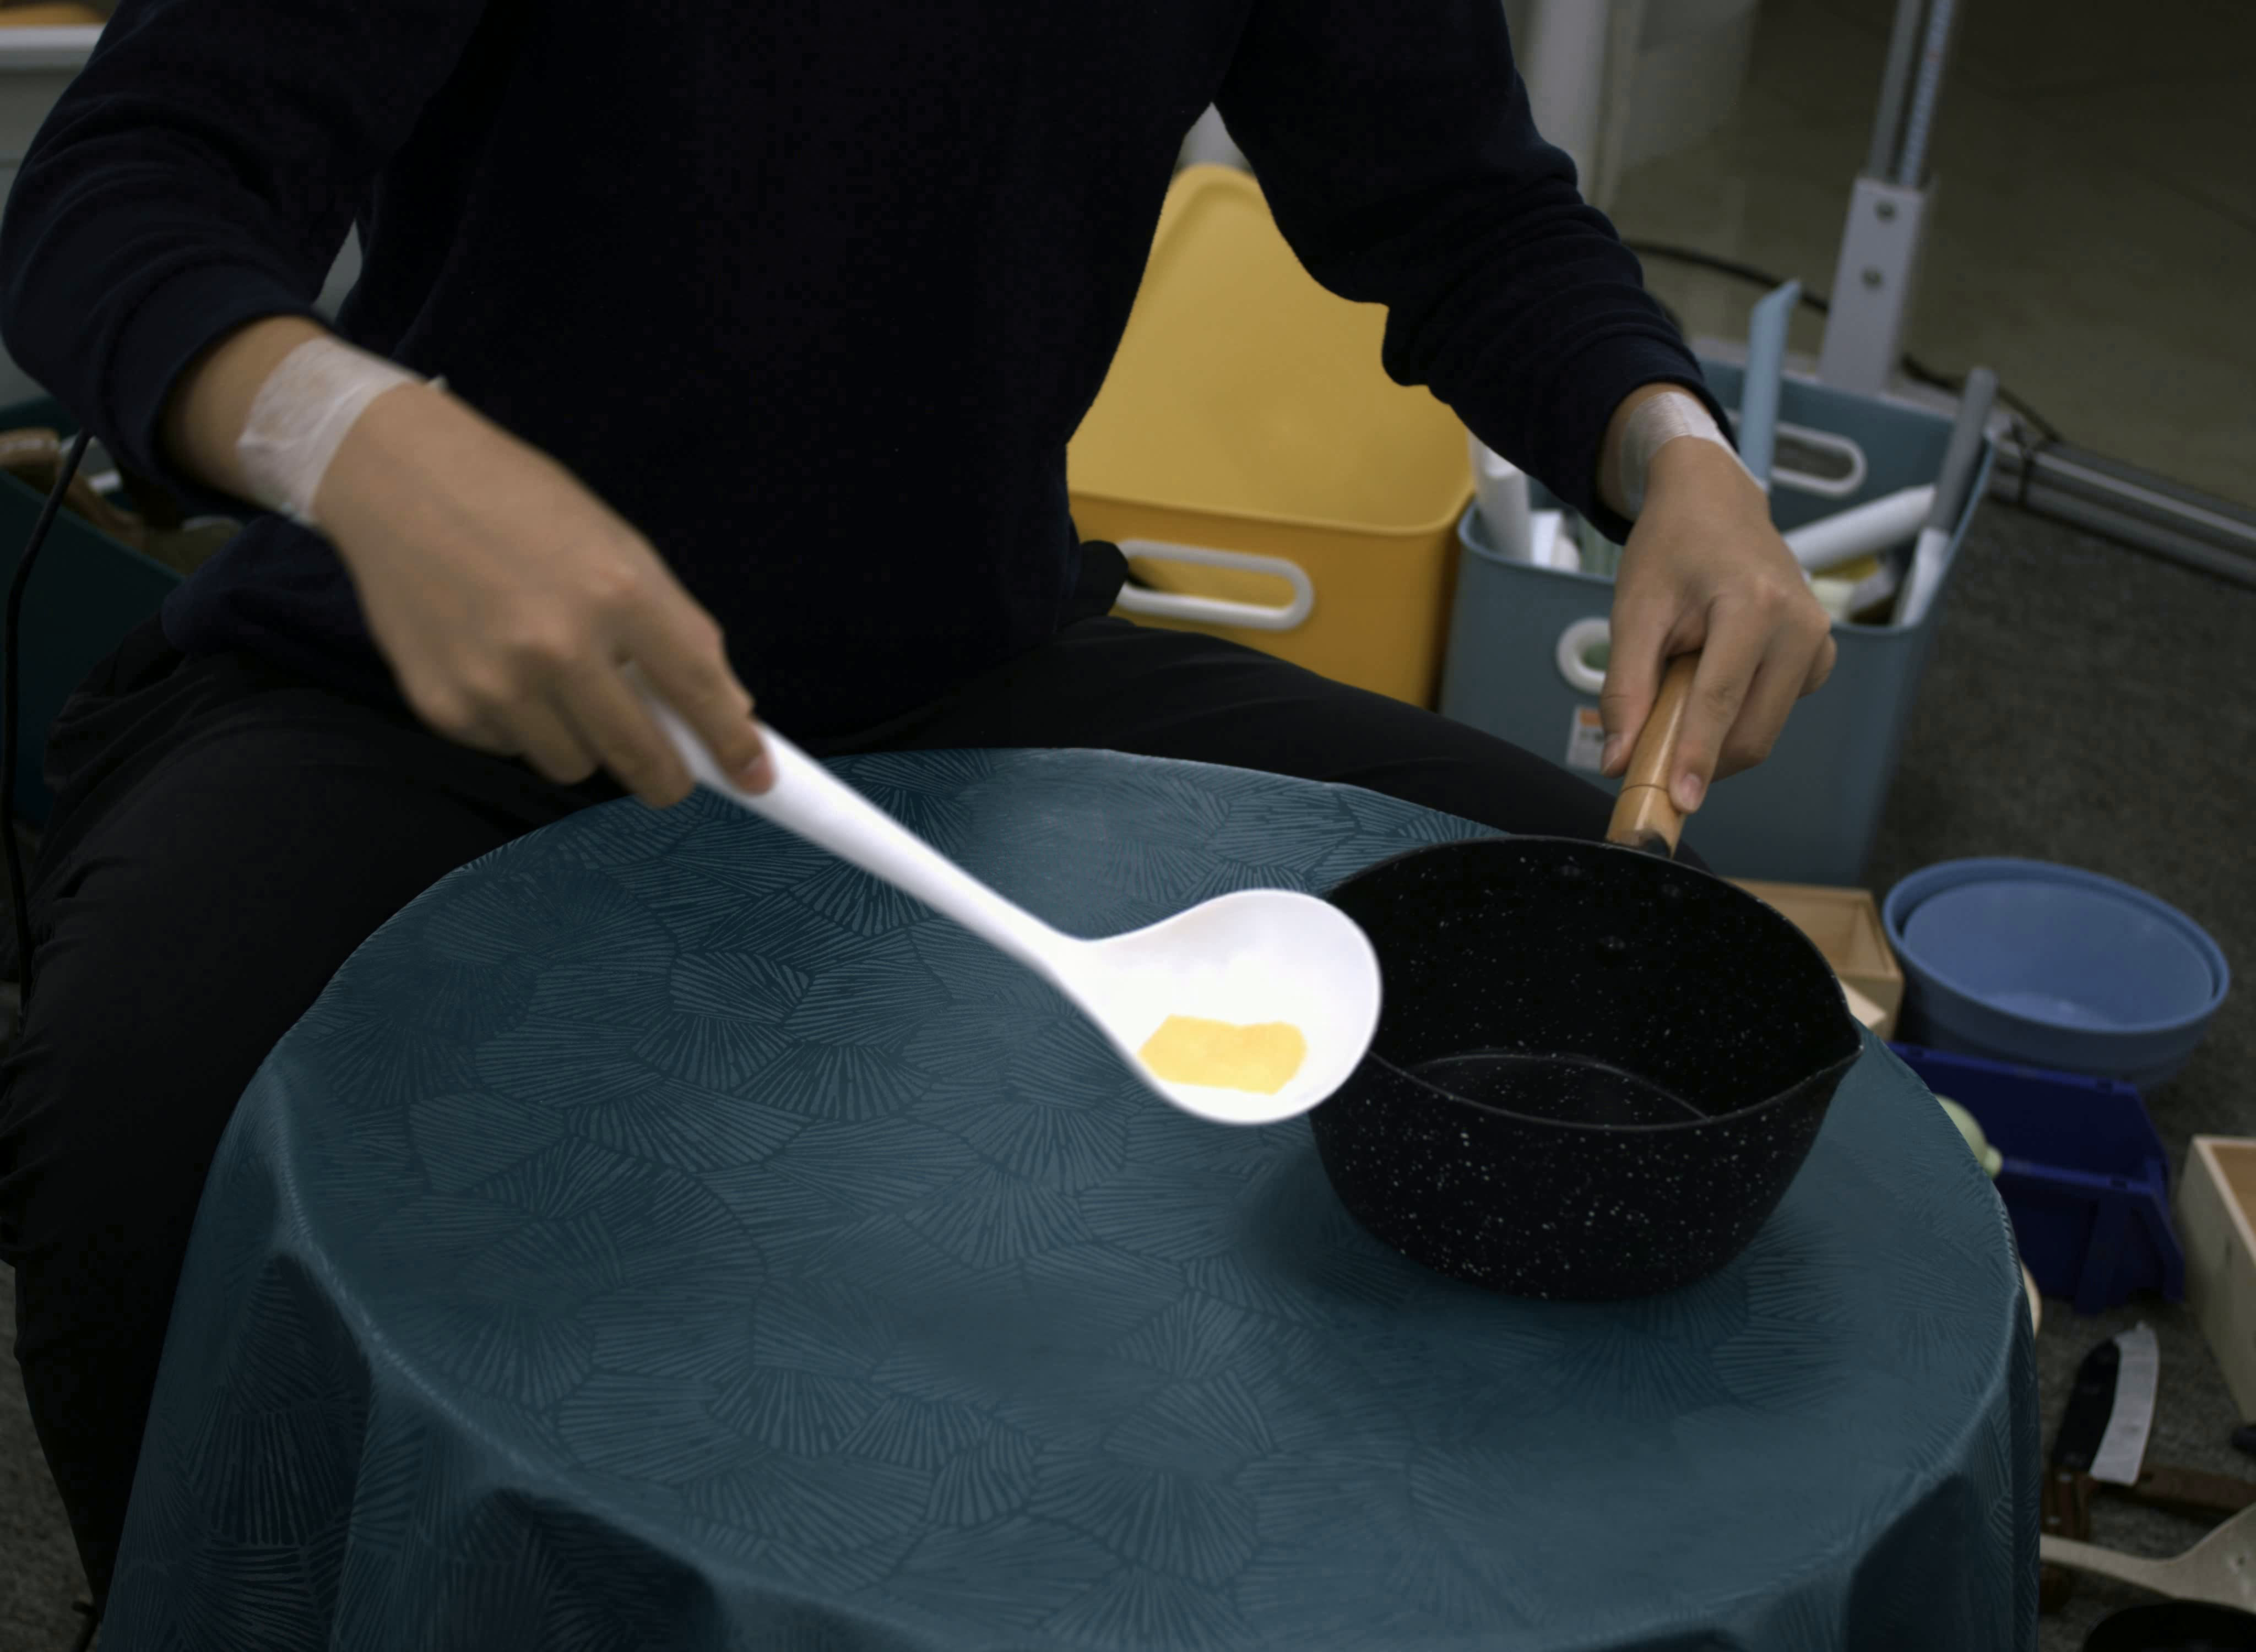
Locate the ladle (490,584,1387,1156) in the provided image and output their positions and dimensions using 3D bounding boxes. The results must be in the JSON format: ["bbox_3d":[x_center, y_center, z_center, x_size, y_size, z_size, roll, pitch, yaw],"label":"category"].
[{"bbox_3d":[-0.057,0.008,1.623,0.291,0.070,0.090,32,60,-19],"label":"ladle"}]

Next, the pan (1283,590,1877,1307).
[{"bbox_3d":[0.169,0.038,1.870,0.207,0.108,0.344,11,32,12],"label":"pan"}]
